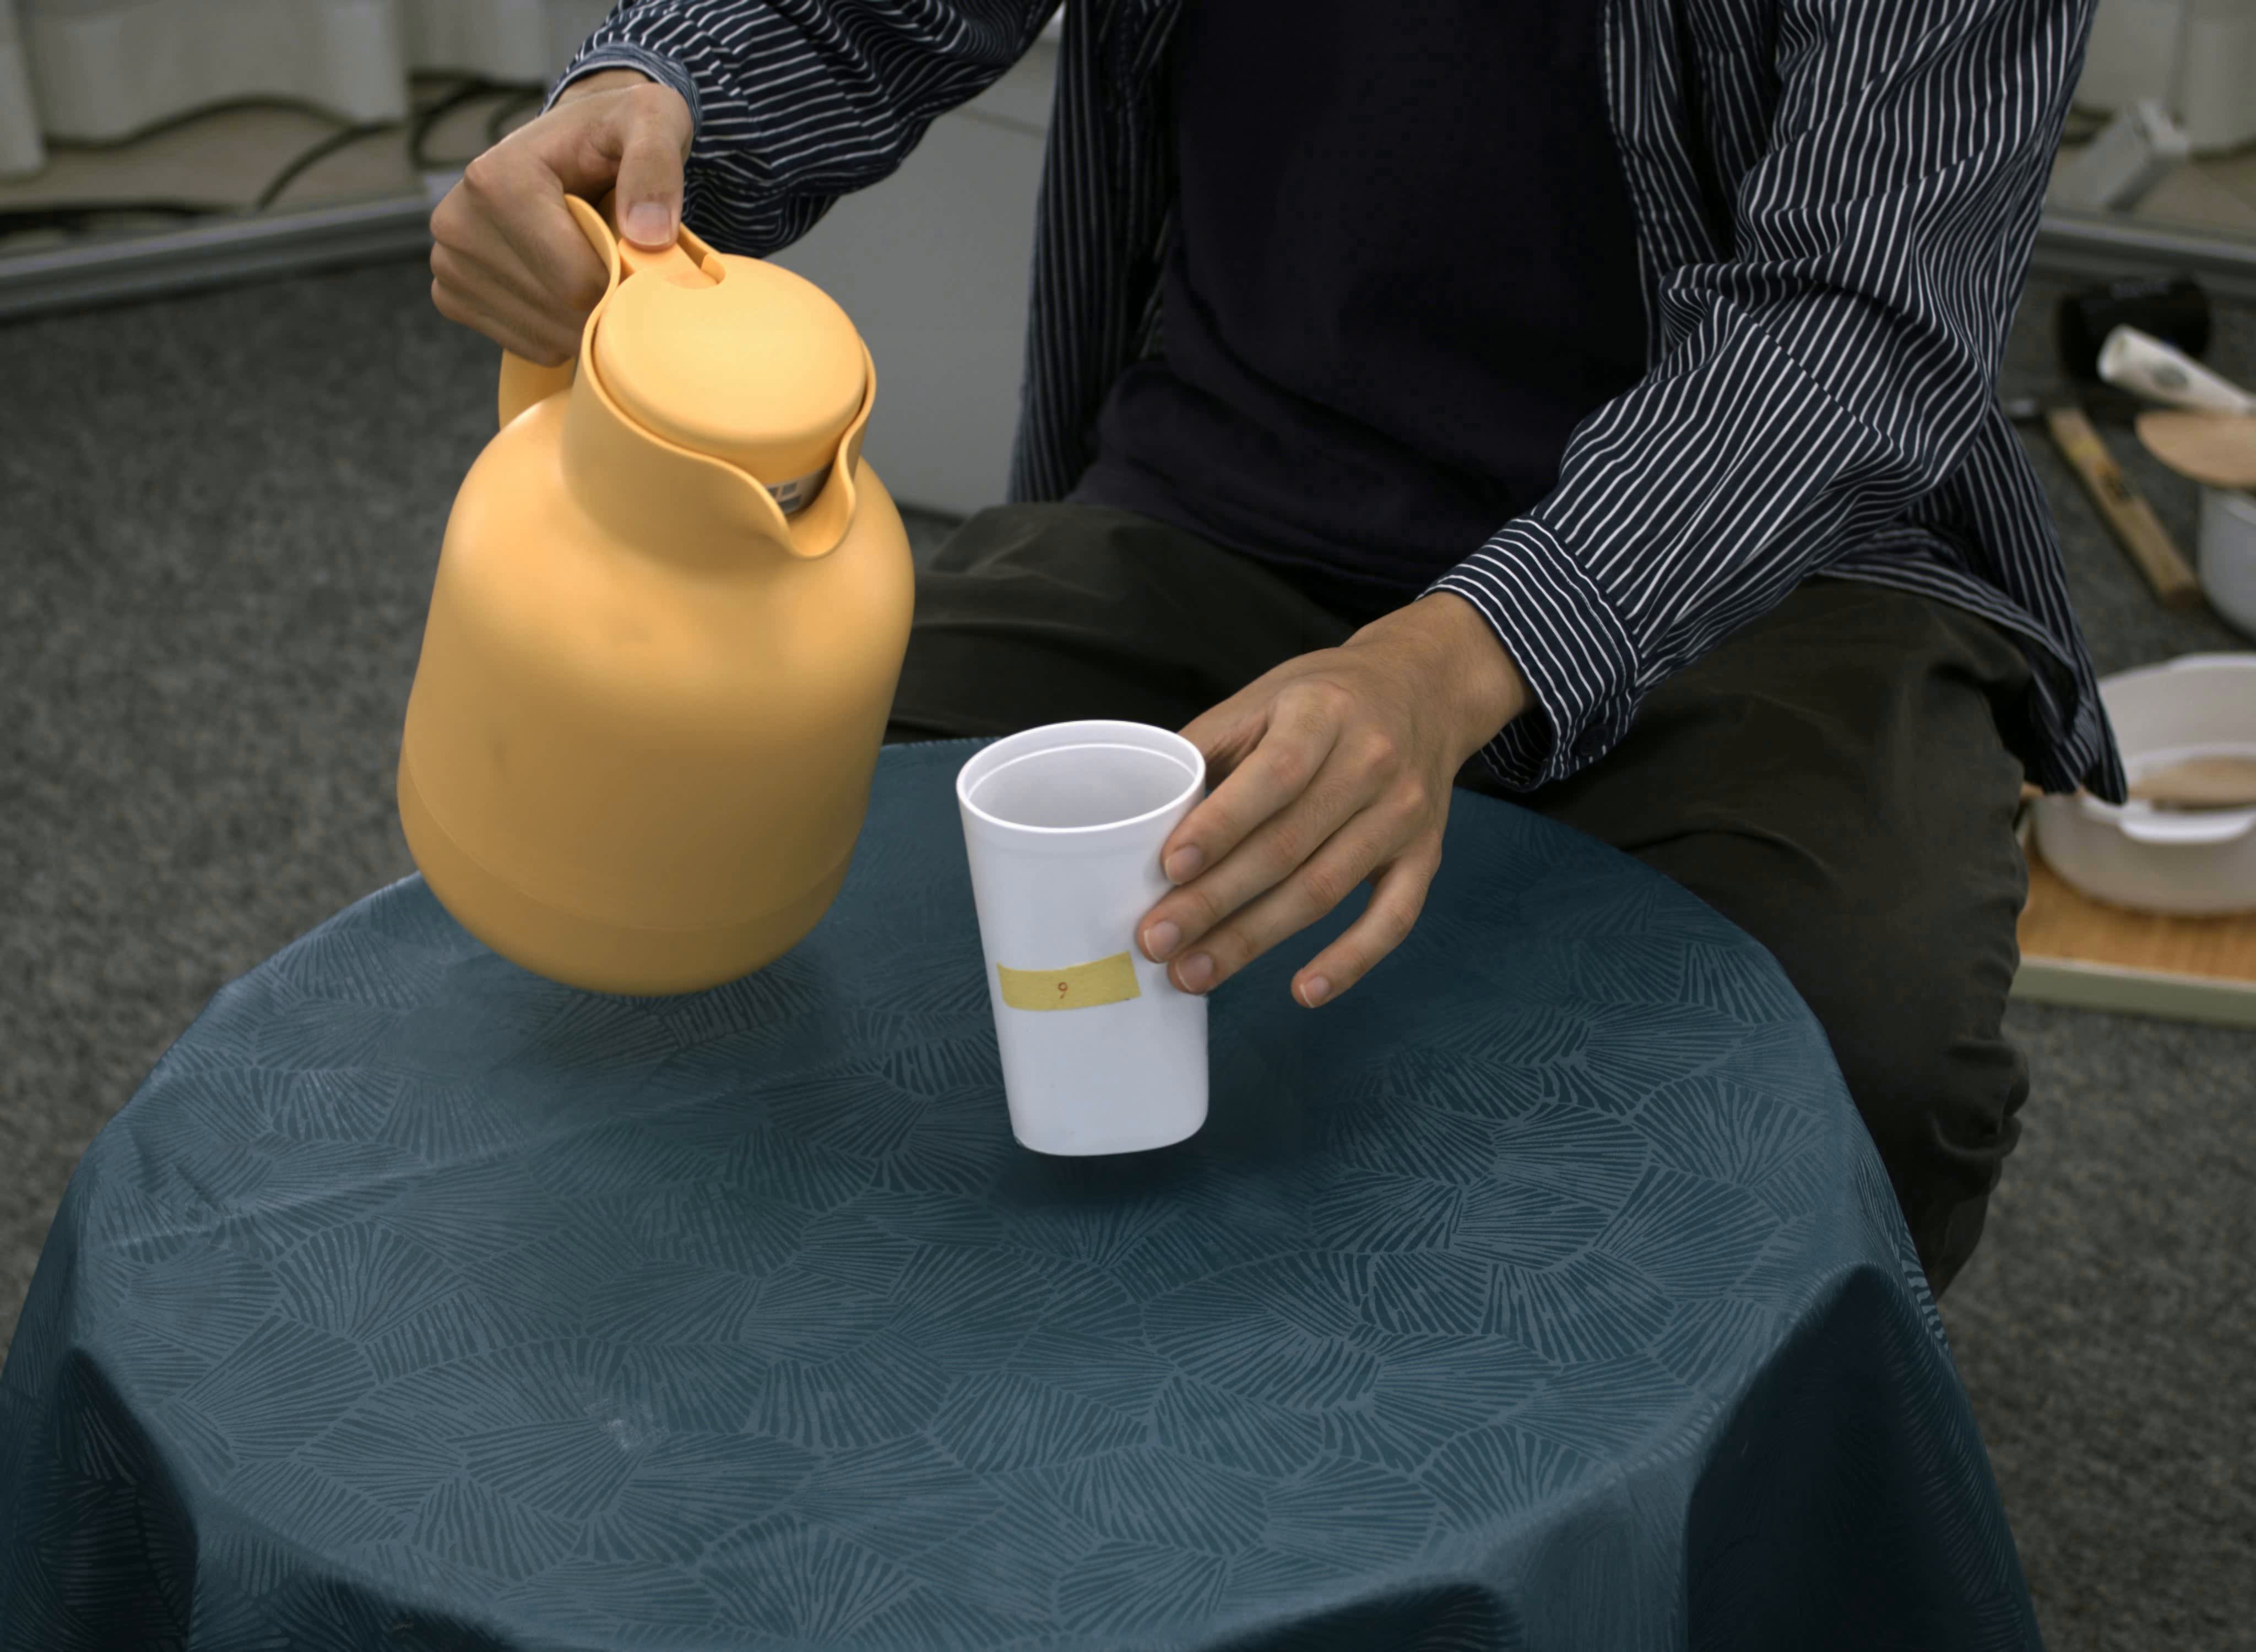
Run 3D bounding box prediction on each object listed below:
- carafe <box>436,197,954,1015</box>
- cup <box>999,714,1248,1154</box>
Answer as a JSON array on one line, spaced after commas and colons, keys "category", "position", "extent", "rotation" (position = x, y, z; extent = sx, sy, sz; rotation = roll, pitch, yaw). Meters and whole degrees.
[{"category": "carafe", "position": [-0.149, -0.082, 1.906], "extent": [0.164, 0.256, 0.204], "rotation": [-15, 53, -30]}, {"category": "cup", "position": [0.003, 0.037, 1.832], "extent": [0.081, 0.124, 0.083], "rotation": [-3, 24, 2]}]
